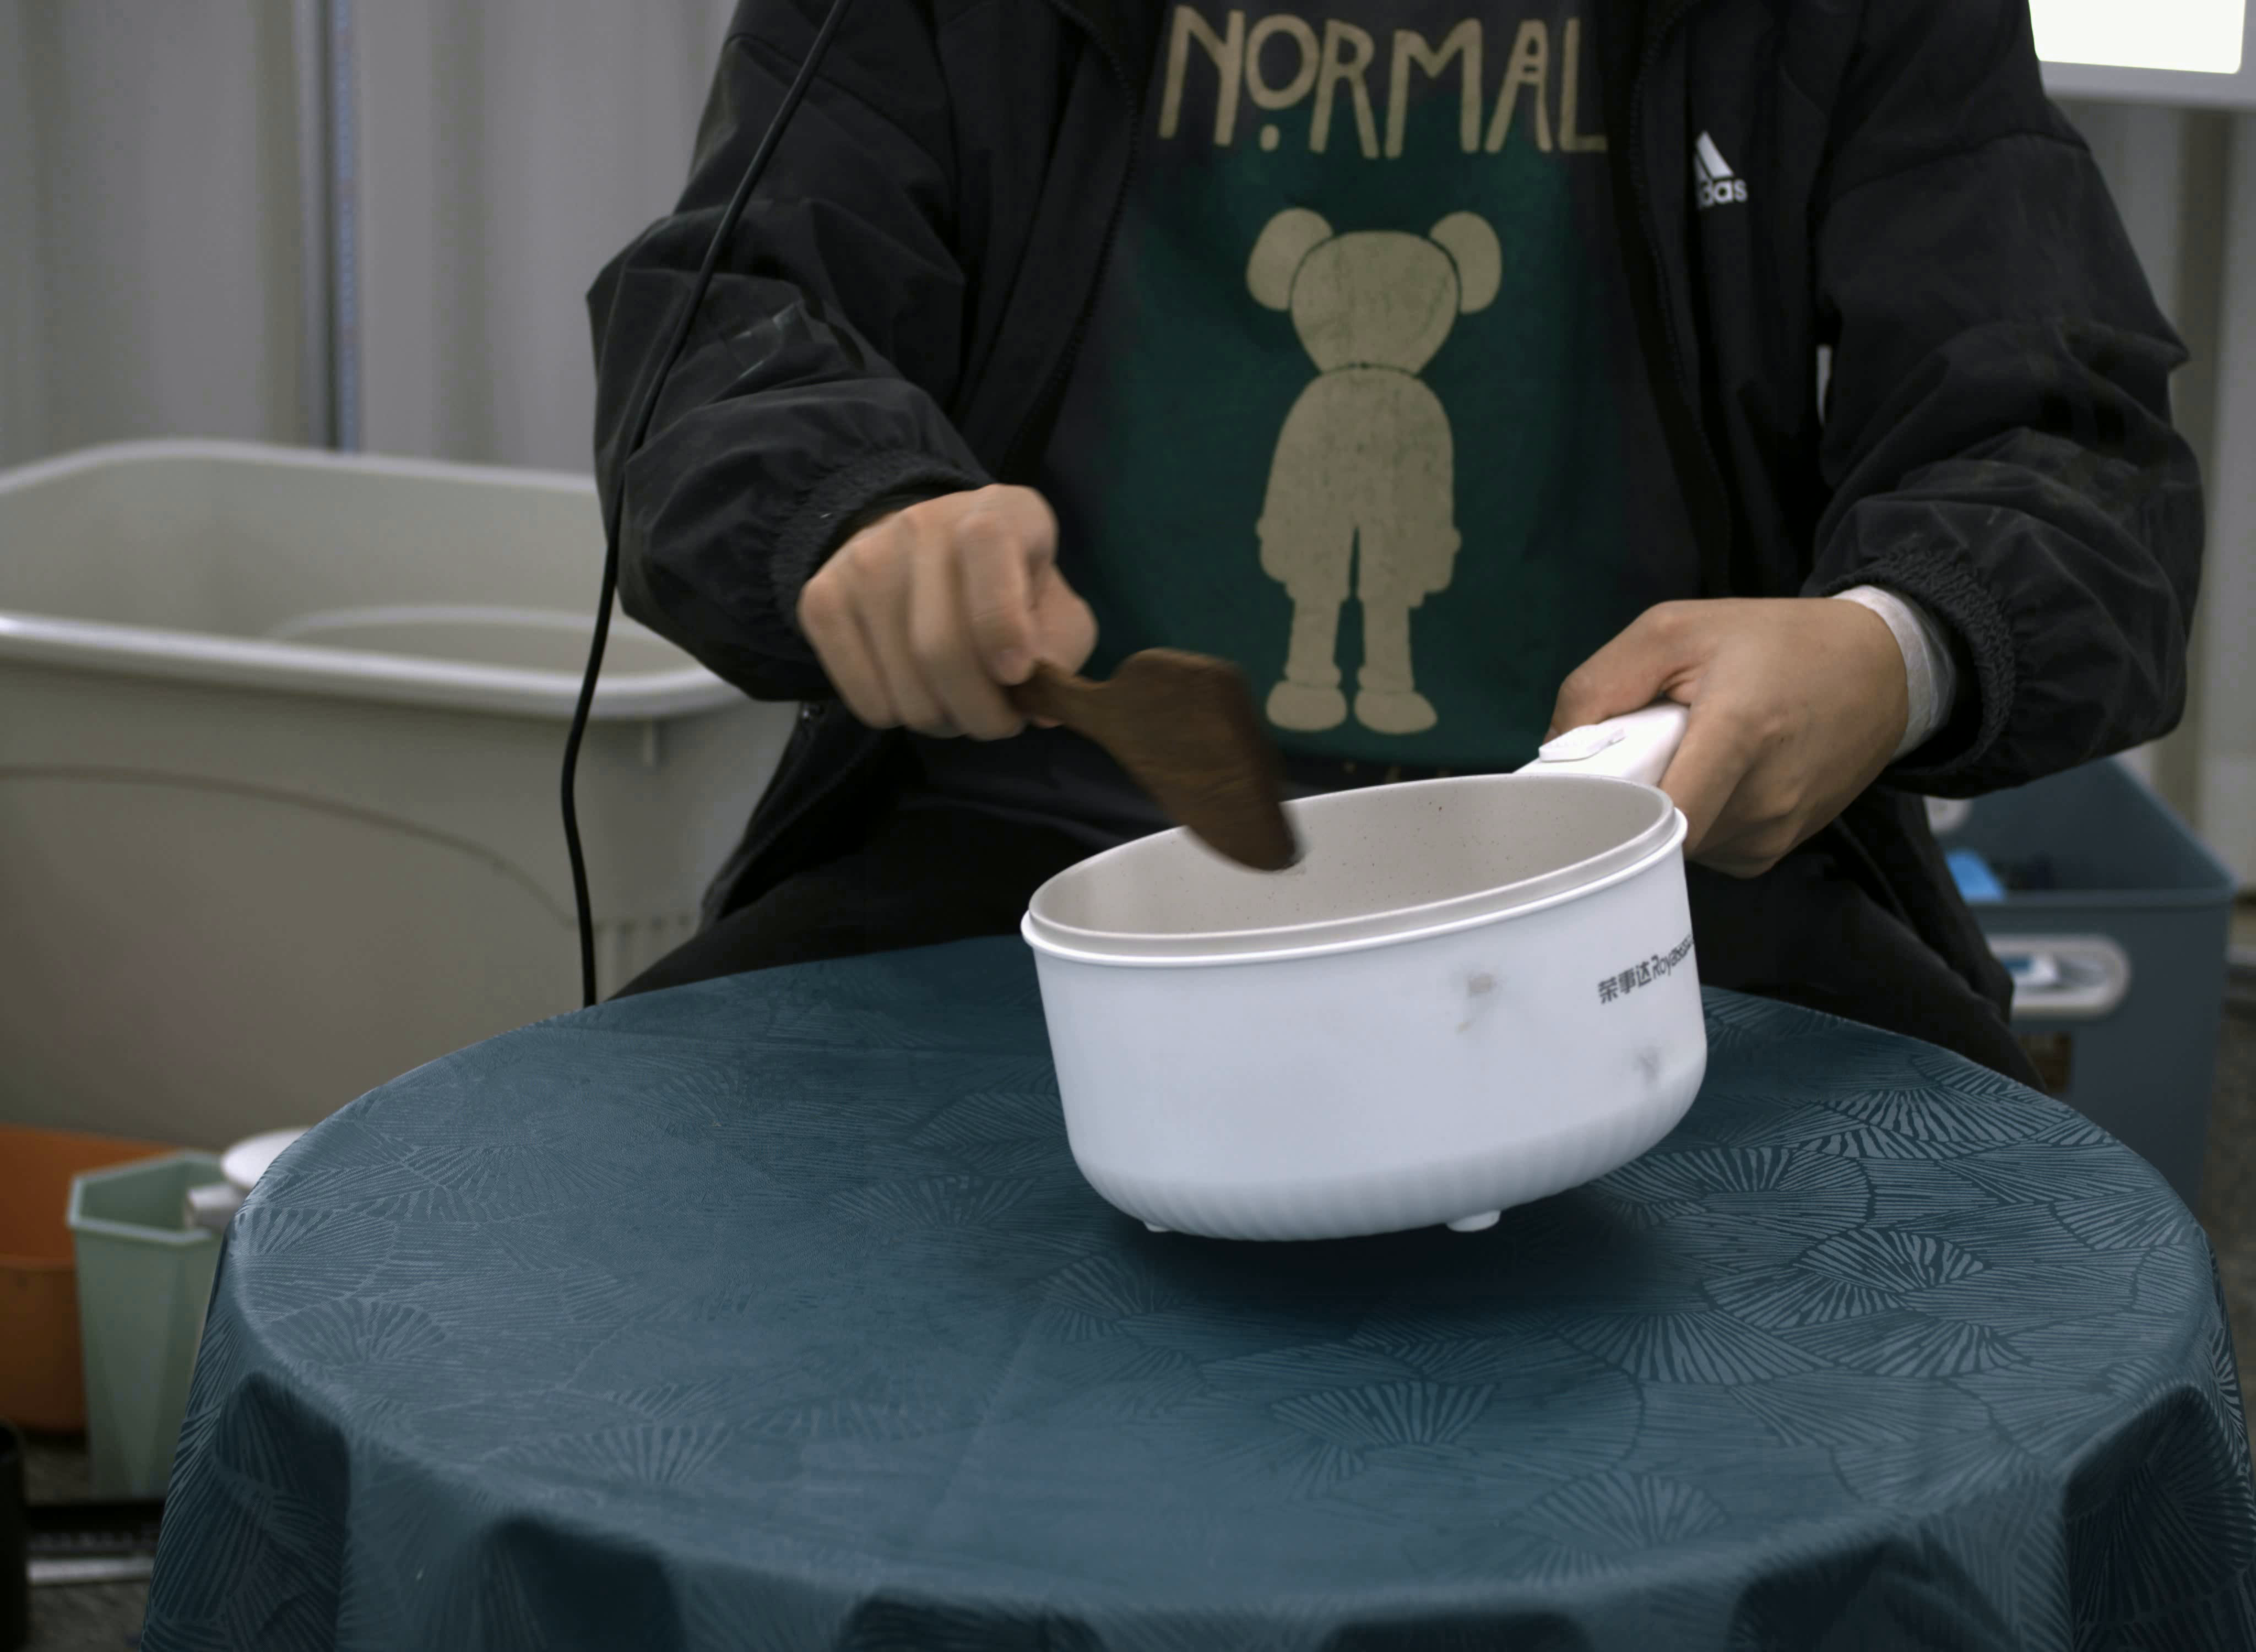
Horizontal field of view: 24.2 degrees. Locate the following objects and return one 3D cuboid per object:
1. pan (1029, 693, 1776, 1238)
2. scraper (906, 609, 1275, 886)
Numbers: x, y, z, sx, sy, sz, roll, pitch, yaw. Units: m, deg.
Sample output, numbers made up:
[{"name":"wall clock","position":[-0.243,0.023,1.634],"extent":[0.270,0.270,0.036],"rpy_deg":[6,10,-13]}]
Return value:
[{"name":"pan","position":[0.114,0.040,1.640],"extent":[0.199,0.103,0.356],"rpy_deg":[-3,11,32]},{"name":"scraper","position":[-0.018,-0.035,1.608],"extent":[0.011,0.077,0.208],"rpy_deg":[-28,25,-21]}]
